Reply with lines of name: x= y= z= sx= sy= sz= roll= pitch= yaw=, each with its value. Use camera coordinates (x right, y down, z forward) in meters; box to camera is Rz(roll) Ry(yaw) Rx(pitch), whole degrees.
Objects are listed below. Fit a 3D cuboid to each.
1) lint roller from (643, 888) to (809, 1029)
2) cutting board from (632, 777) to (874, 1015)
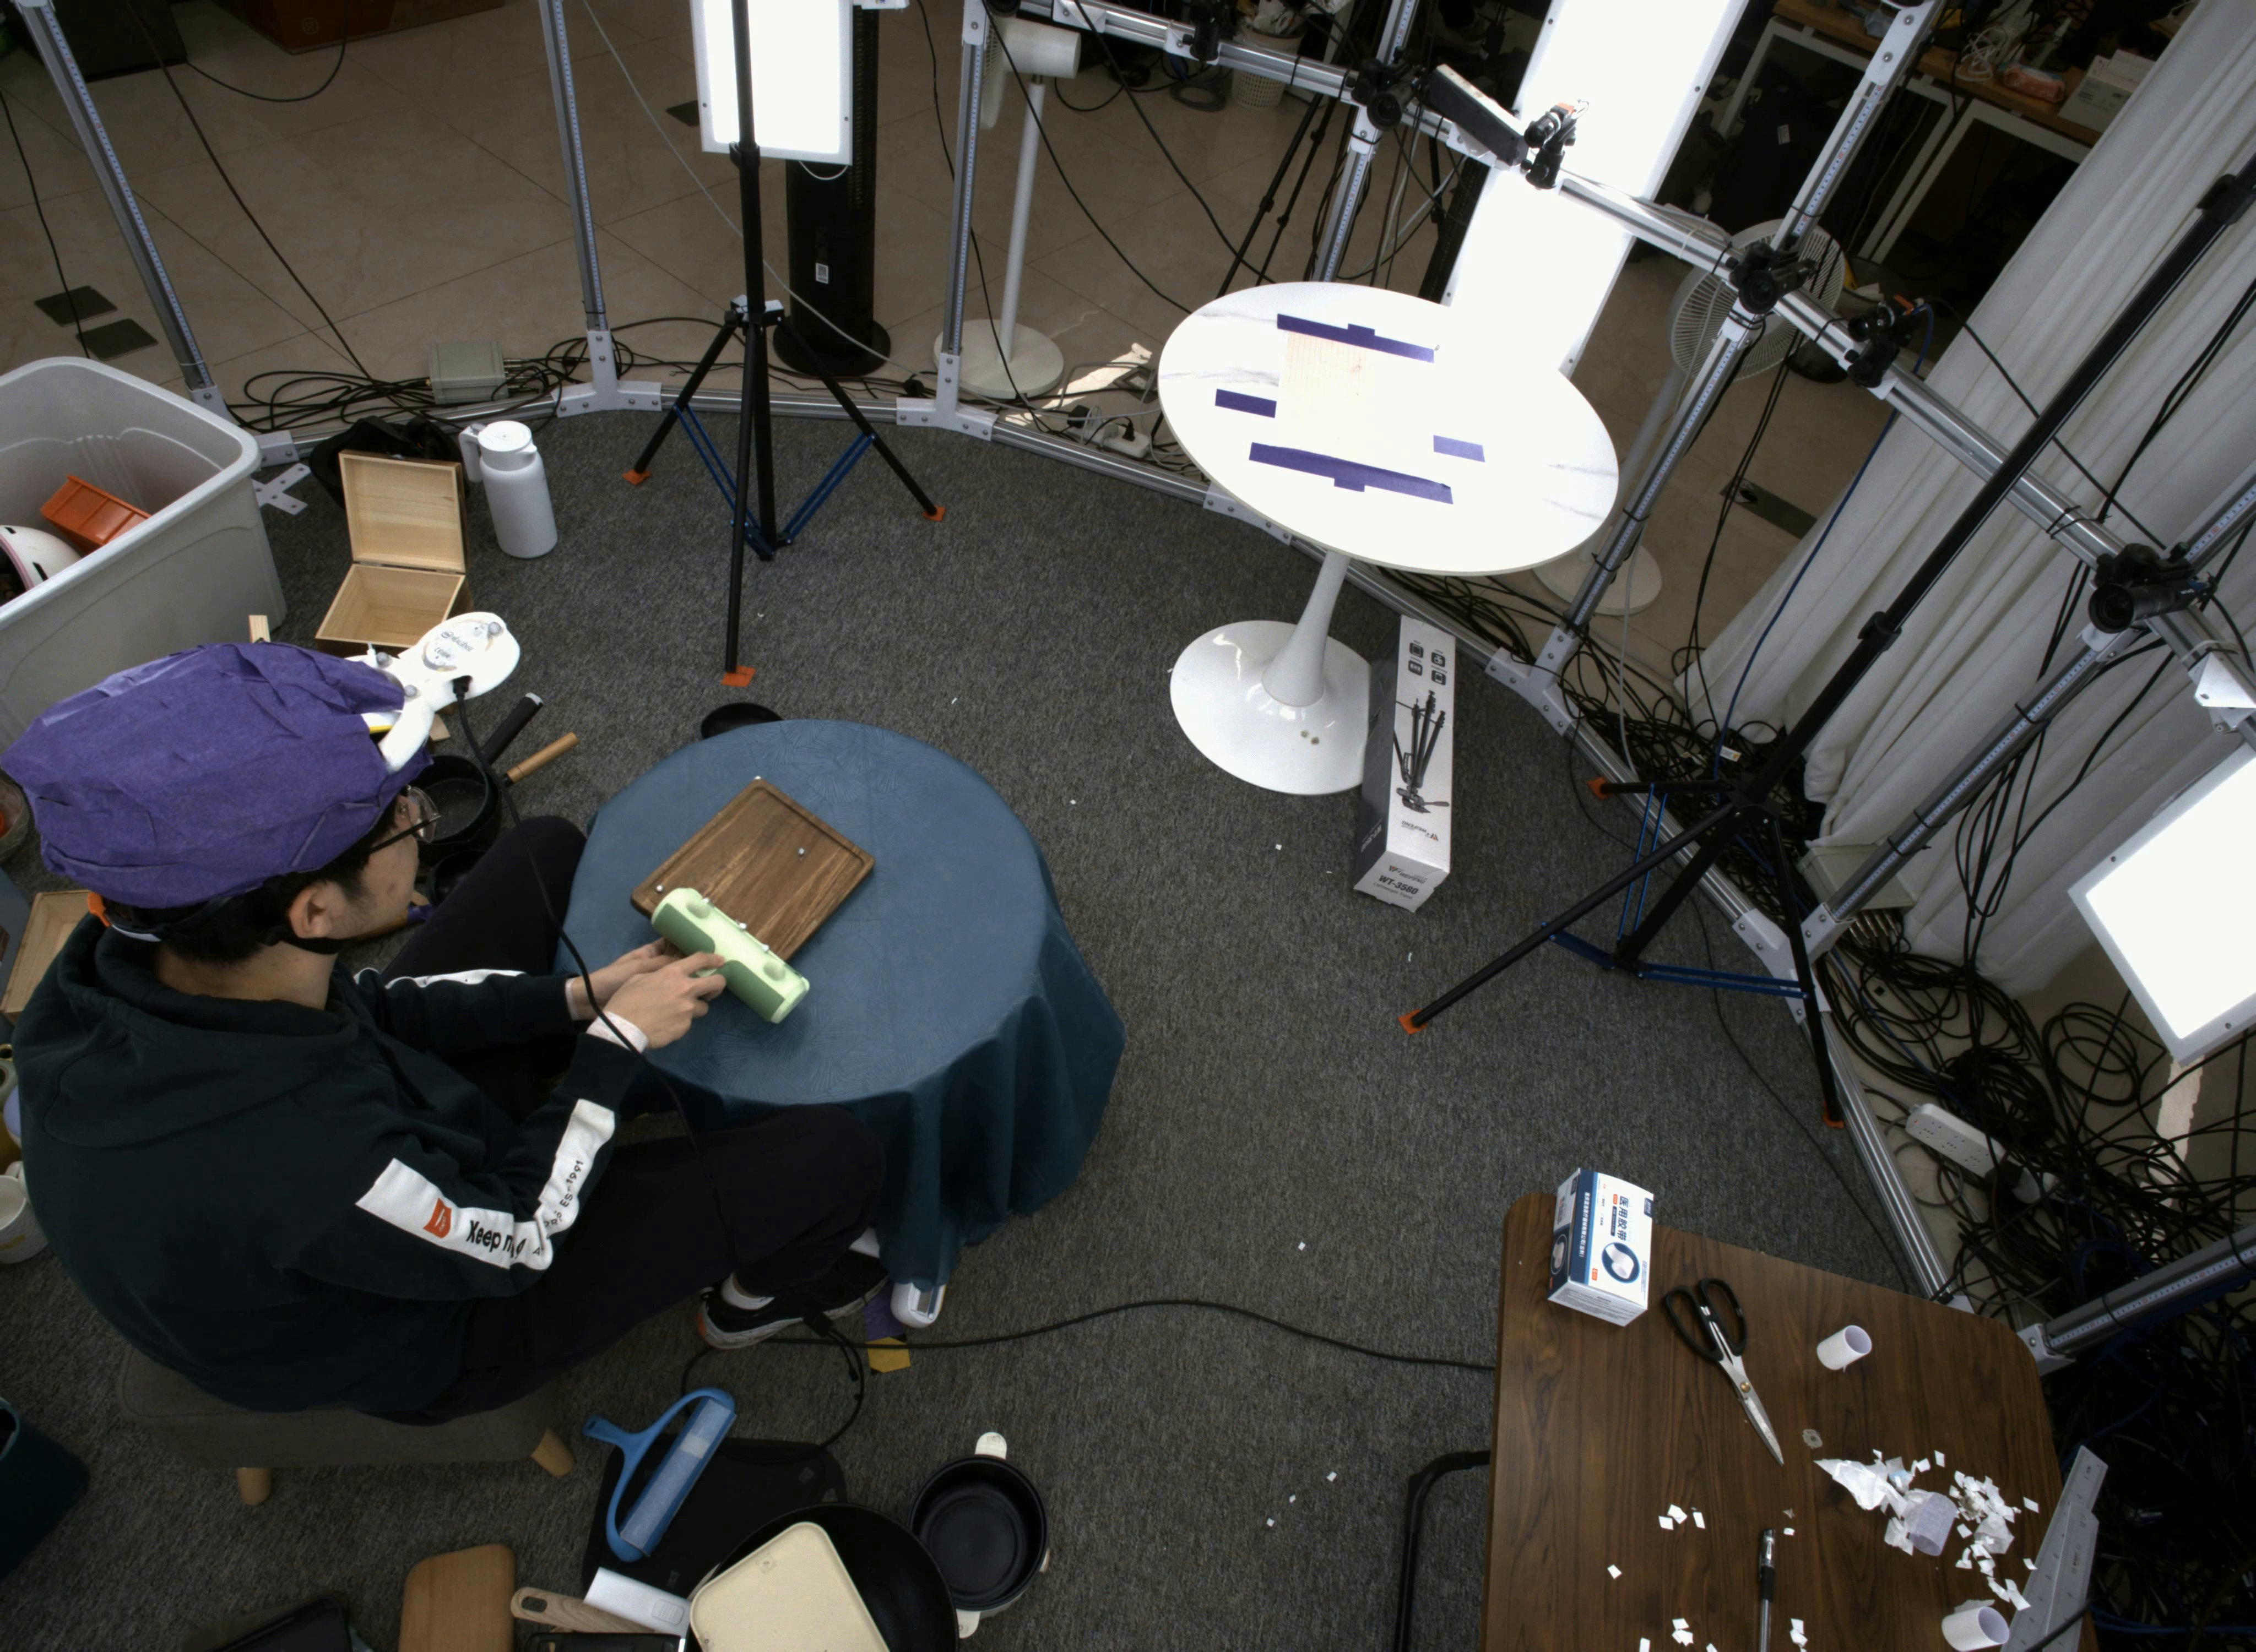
lint roller: x=-0.483 y=0.161 z=1.468 sx=0.198 sy=0.082 sz=0.183 roll=39 pitch=26 yaw=0
cutting board: x=-0.489 y=0.098 z=1.596 sx=0.200 sy=0.023 sz=0.350 roll=36 pitch=50 yaw=0
